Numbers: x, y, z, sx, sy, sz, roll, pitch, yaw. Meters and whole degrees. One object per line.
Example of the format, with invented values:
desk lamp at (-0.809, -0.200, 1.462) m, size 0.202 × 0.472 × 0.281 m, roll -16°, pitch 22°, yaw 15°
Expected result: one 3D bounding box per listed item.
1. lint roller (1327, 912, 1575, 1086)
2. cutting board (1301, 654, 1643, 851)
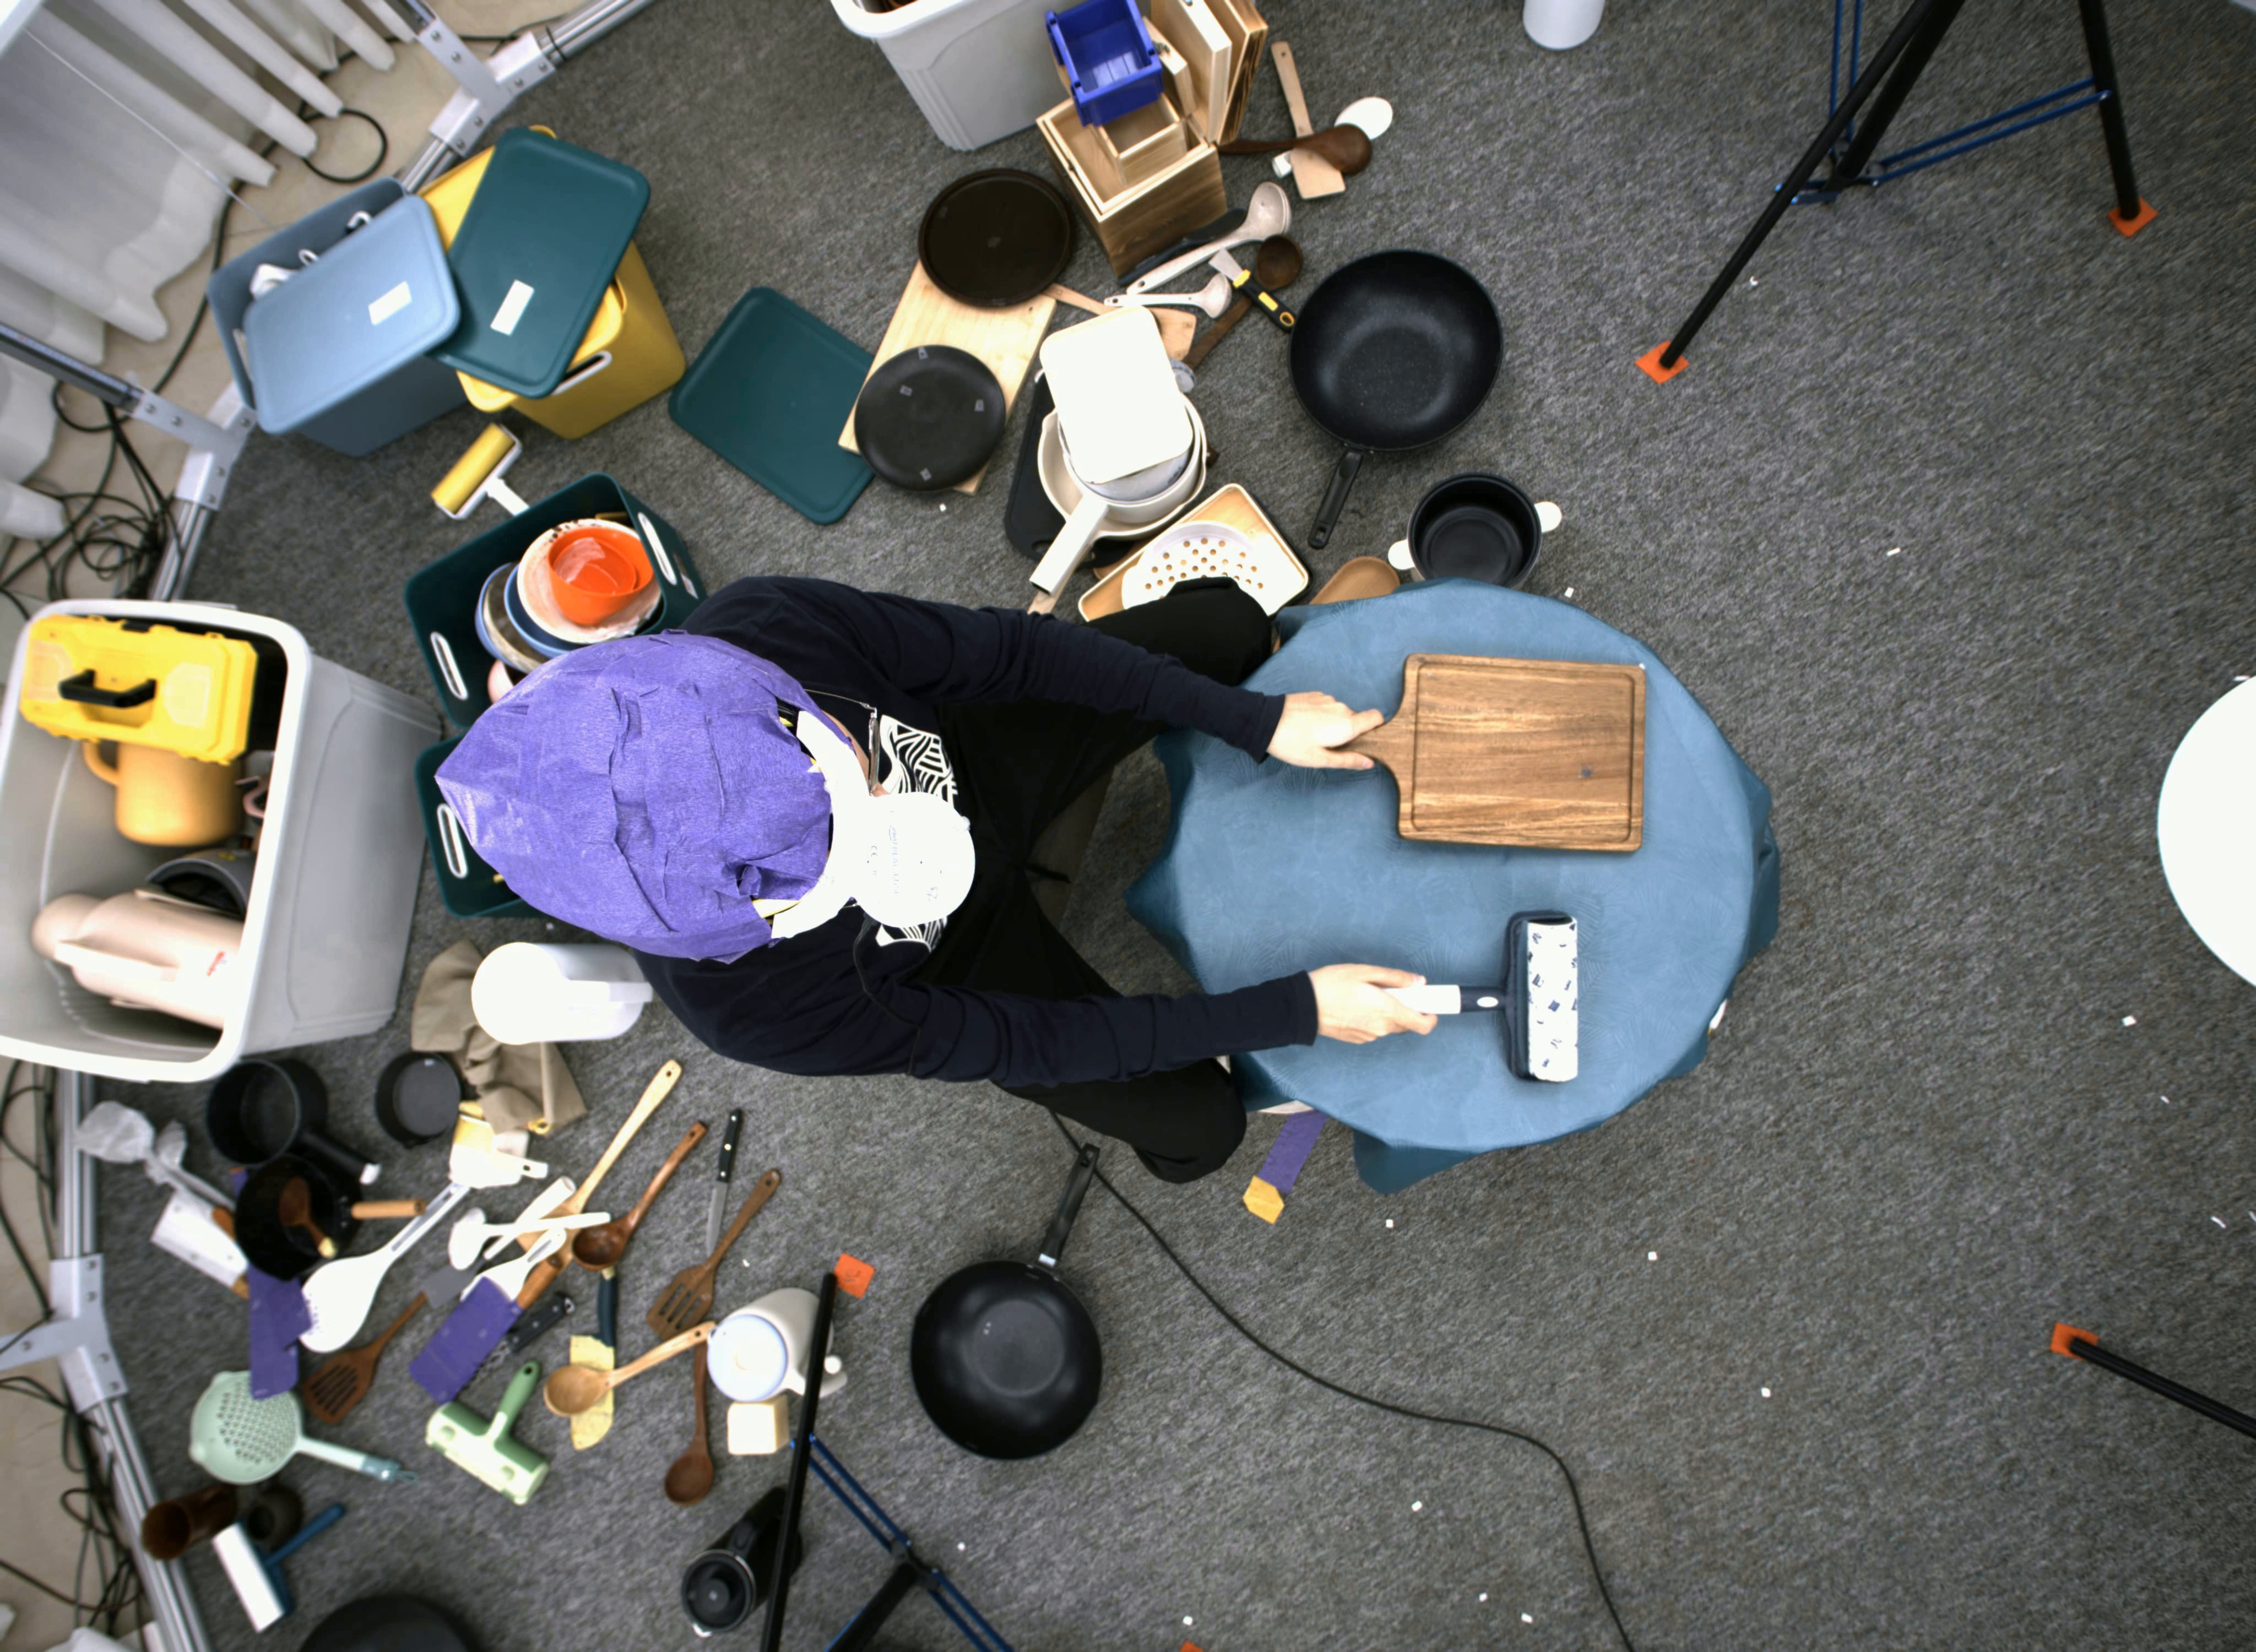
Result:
lint roller at (0.326, 0.177, 1.395) m, size 0.248 × 0.050 × 0.178 m, roll -3°, pitch 101°, yaw 8°
cutting board at (0.356, -0.080, 1.421) m, size 0.353 × 0.023 × 0.200 m, roll 2°, pitch 87°, yaw 4°
